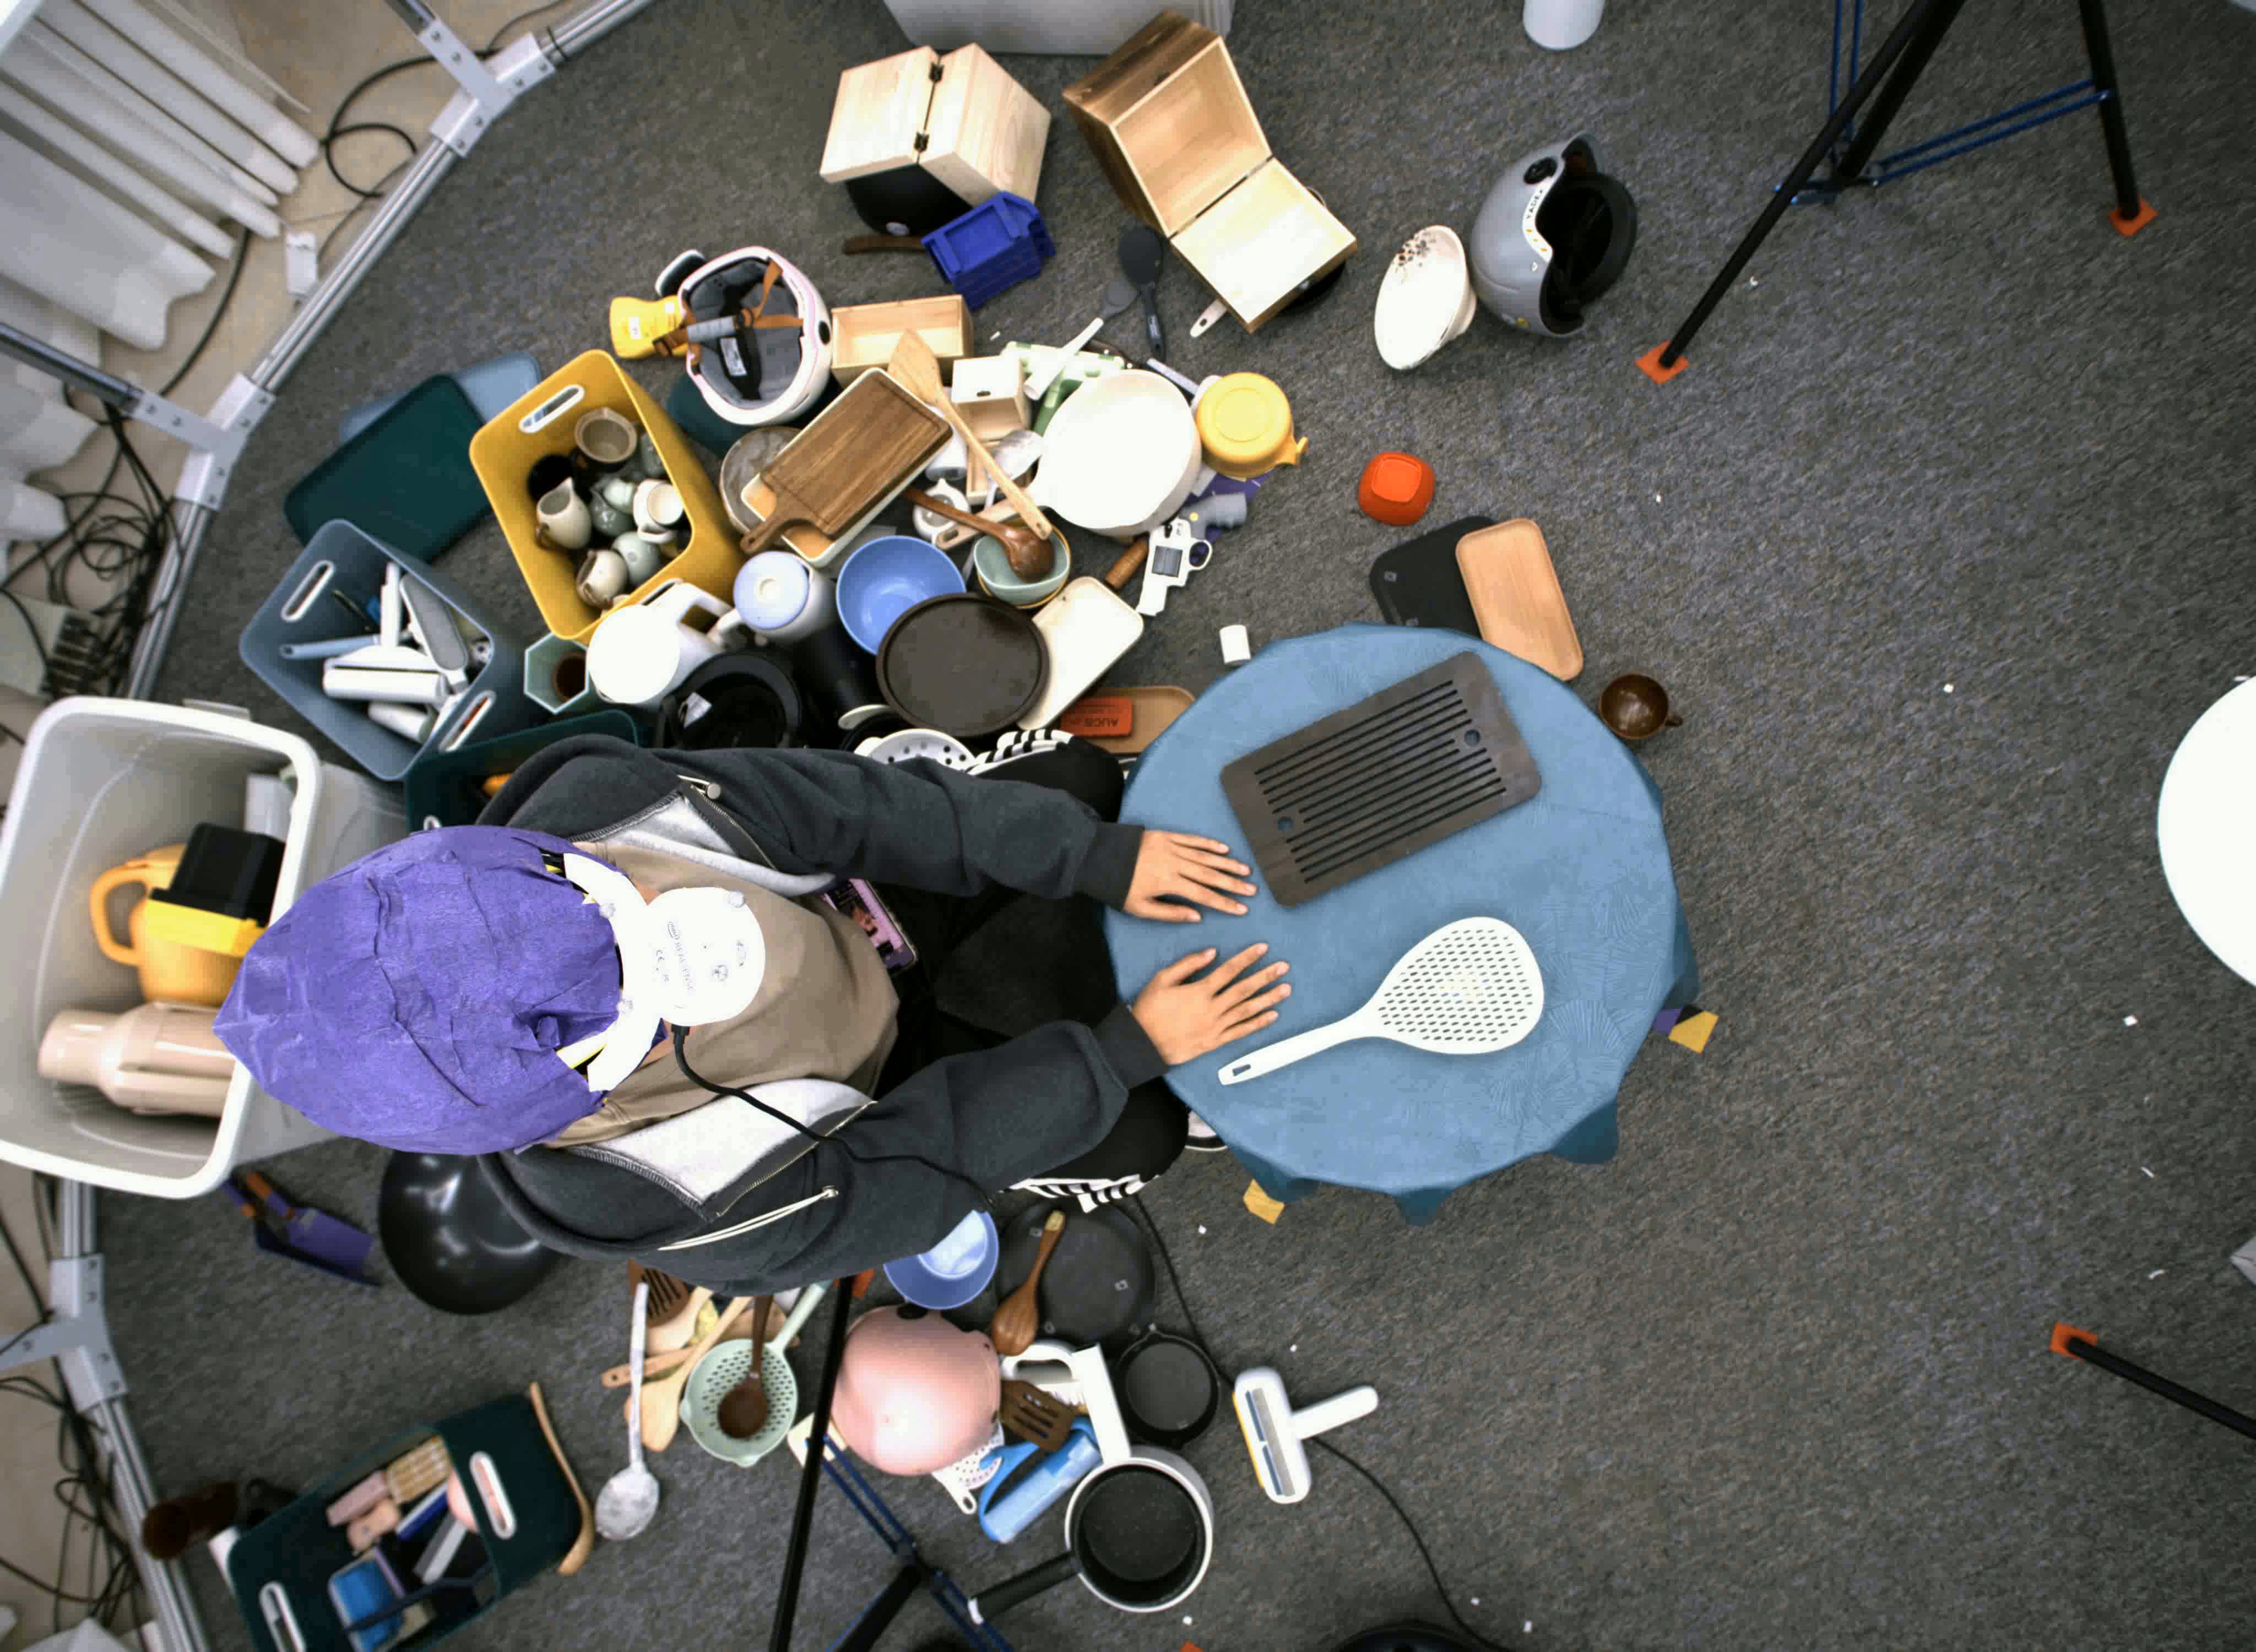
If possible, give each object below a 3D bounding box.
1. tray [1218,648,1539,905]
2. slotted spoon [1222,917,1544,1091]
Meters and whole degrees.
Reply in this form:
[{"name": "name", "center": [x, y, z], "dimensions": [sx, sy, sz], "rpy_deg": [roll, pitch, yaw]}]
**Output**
[{"name": "tray", "center": [0.263, -0.053, 1.458], "dimensions": [0.308, 0.018, 0.169], "rpy_deg": [-25, 83, 8]}, {"name": "slotted spoon", "center": [0.255, 0.202, 1.434], "dimensions": [0.350, 0.050, 0.136], "rpy_deg": [-22, 85, 8]}]
